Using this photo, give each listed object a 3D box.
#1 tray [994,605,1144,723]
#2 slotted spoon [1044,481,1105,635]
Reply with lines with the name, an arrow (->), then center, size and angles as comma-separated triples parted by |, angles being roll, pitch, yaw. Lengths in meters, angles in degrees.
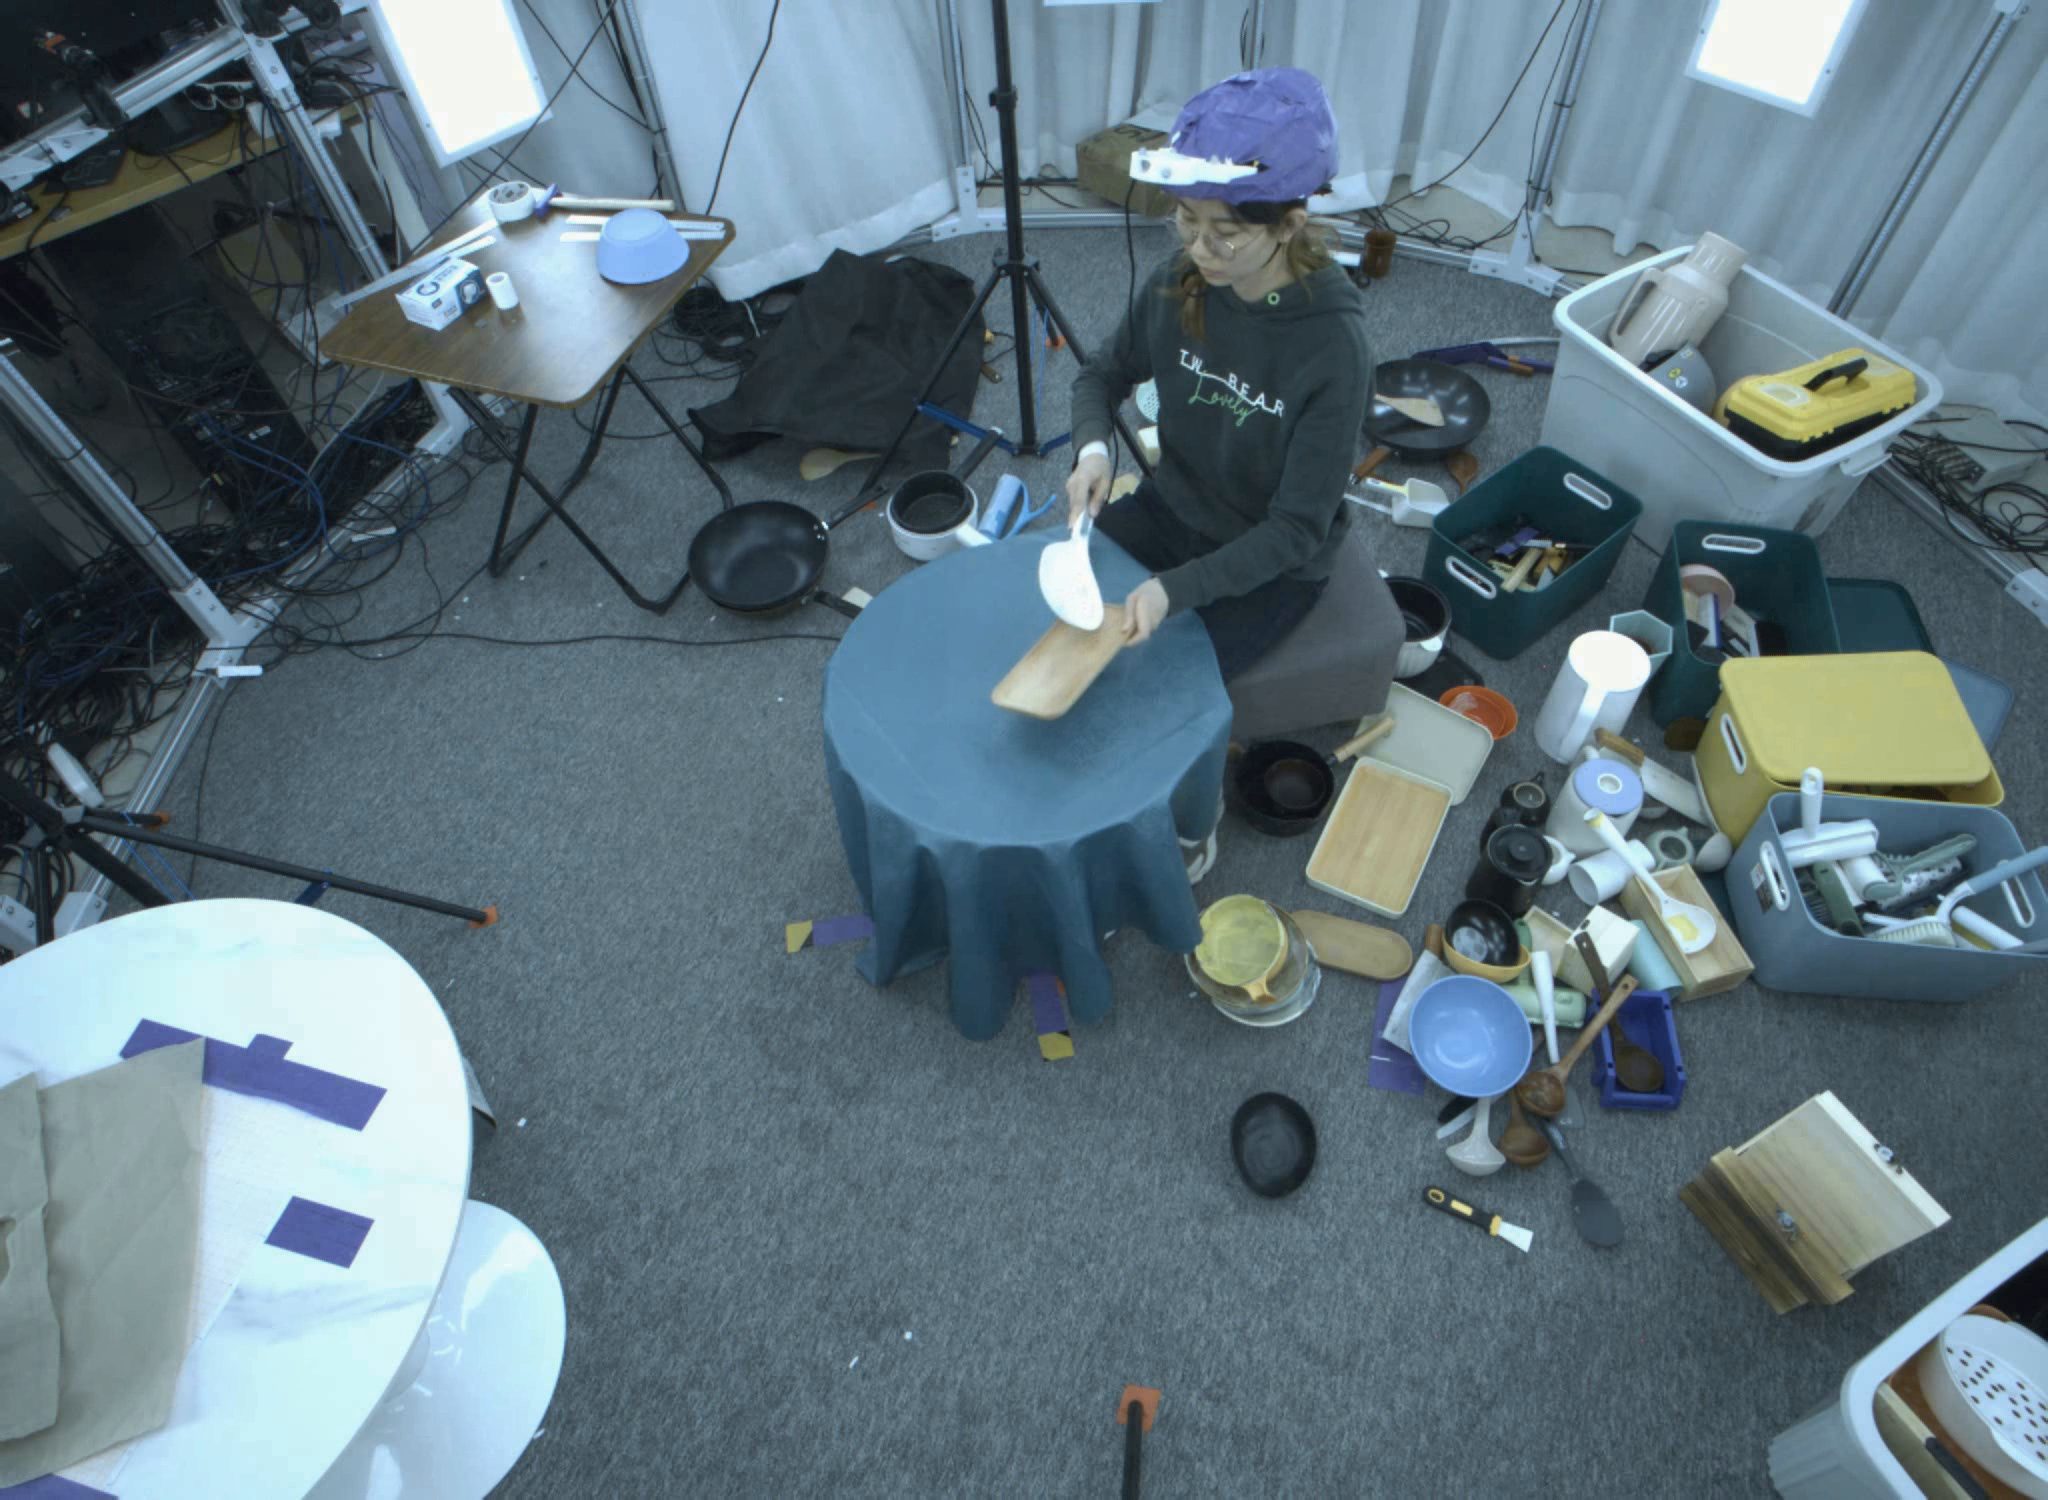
tray -> 0.067, -0.128, 1.781 | 0.128, 0.023, 0.252 | 18, 51, 32
slotted spoon -> 0.087, -0.303, 1.855 | 0.045, 0.139, 0.348 | -21, 38, 35
